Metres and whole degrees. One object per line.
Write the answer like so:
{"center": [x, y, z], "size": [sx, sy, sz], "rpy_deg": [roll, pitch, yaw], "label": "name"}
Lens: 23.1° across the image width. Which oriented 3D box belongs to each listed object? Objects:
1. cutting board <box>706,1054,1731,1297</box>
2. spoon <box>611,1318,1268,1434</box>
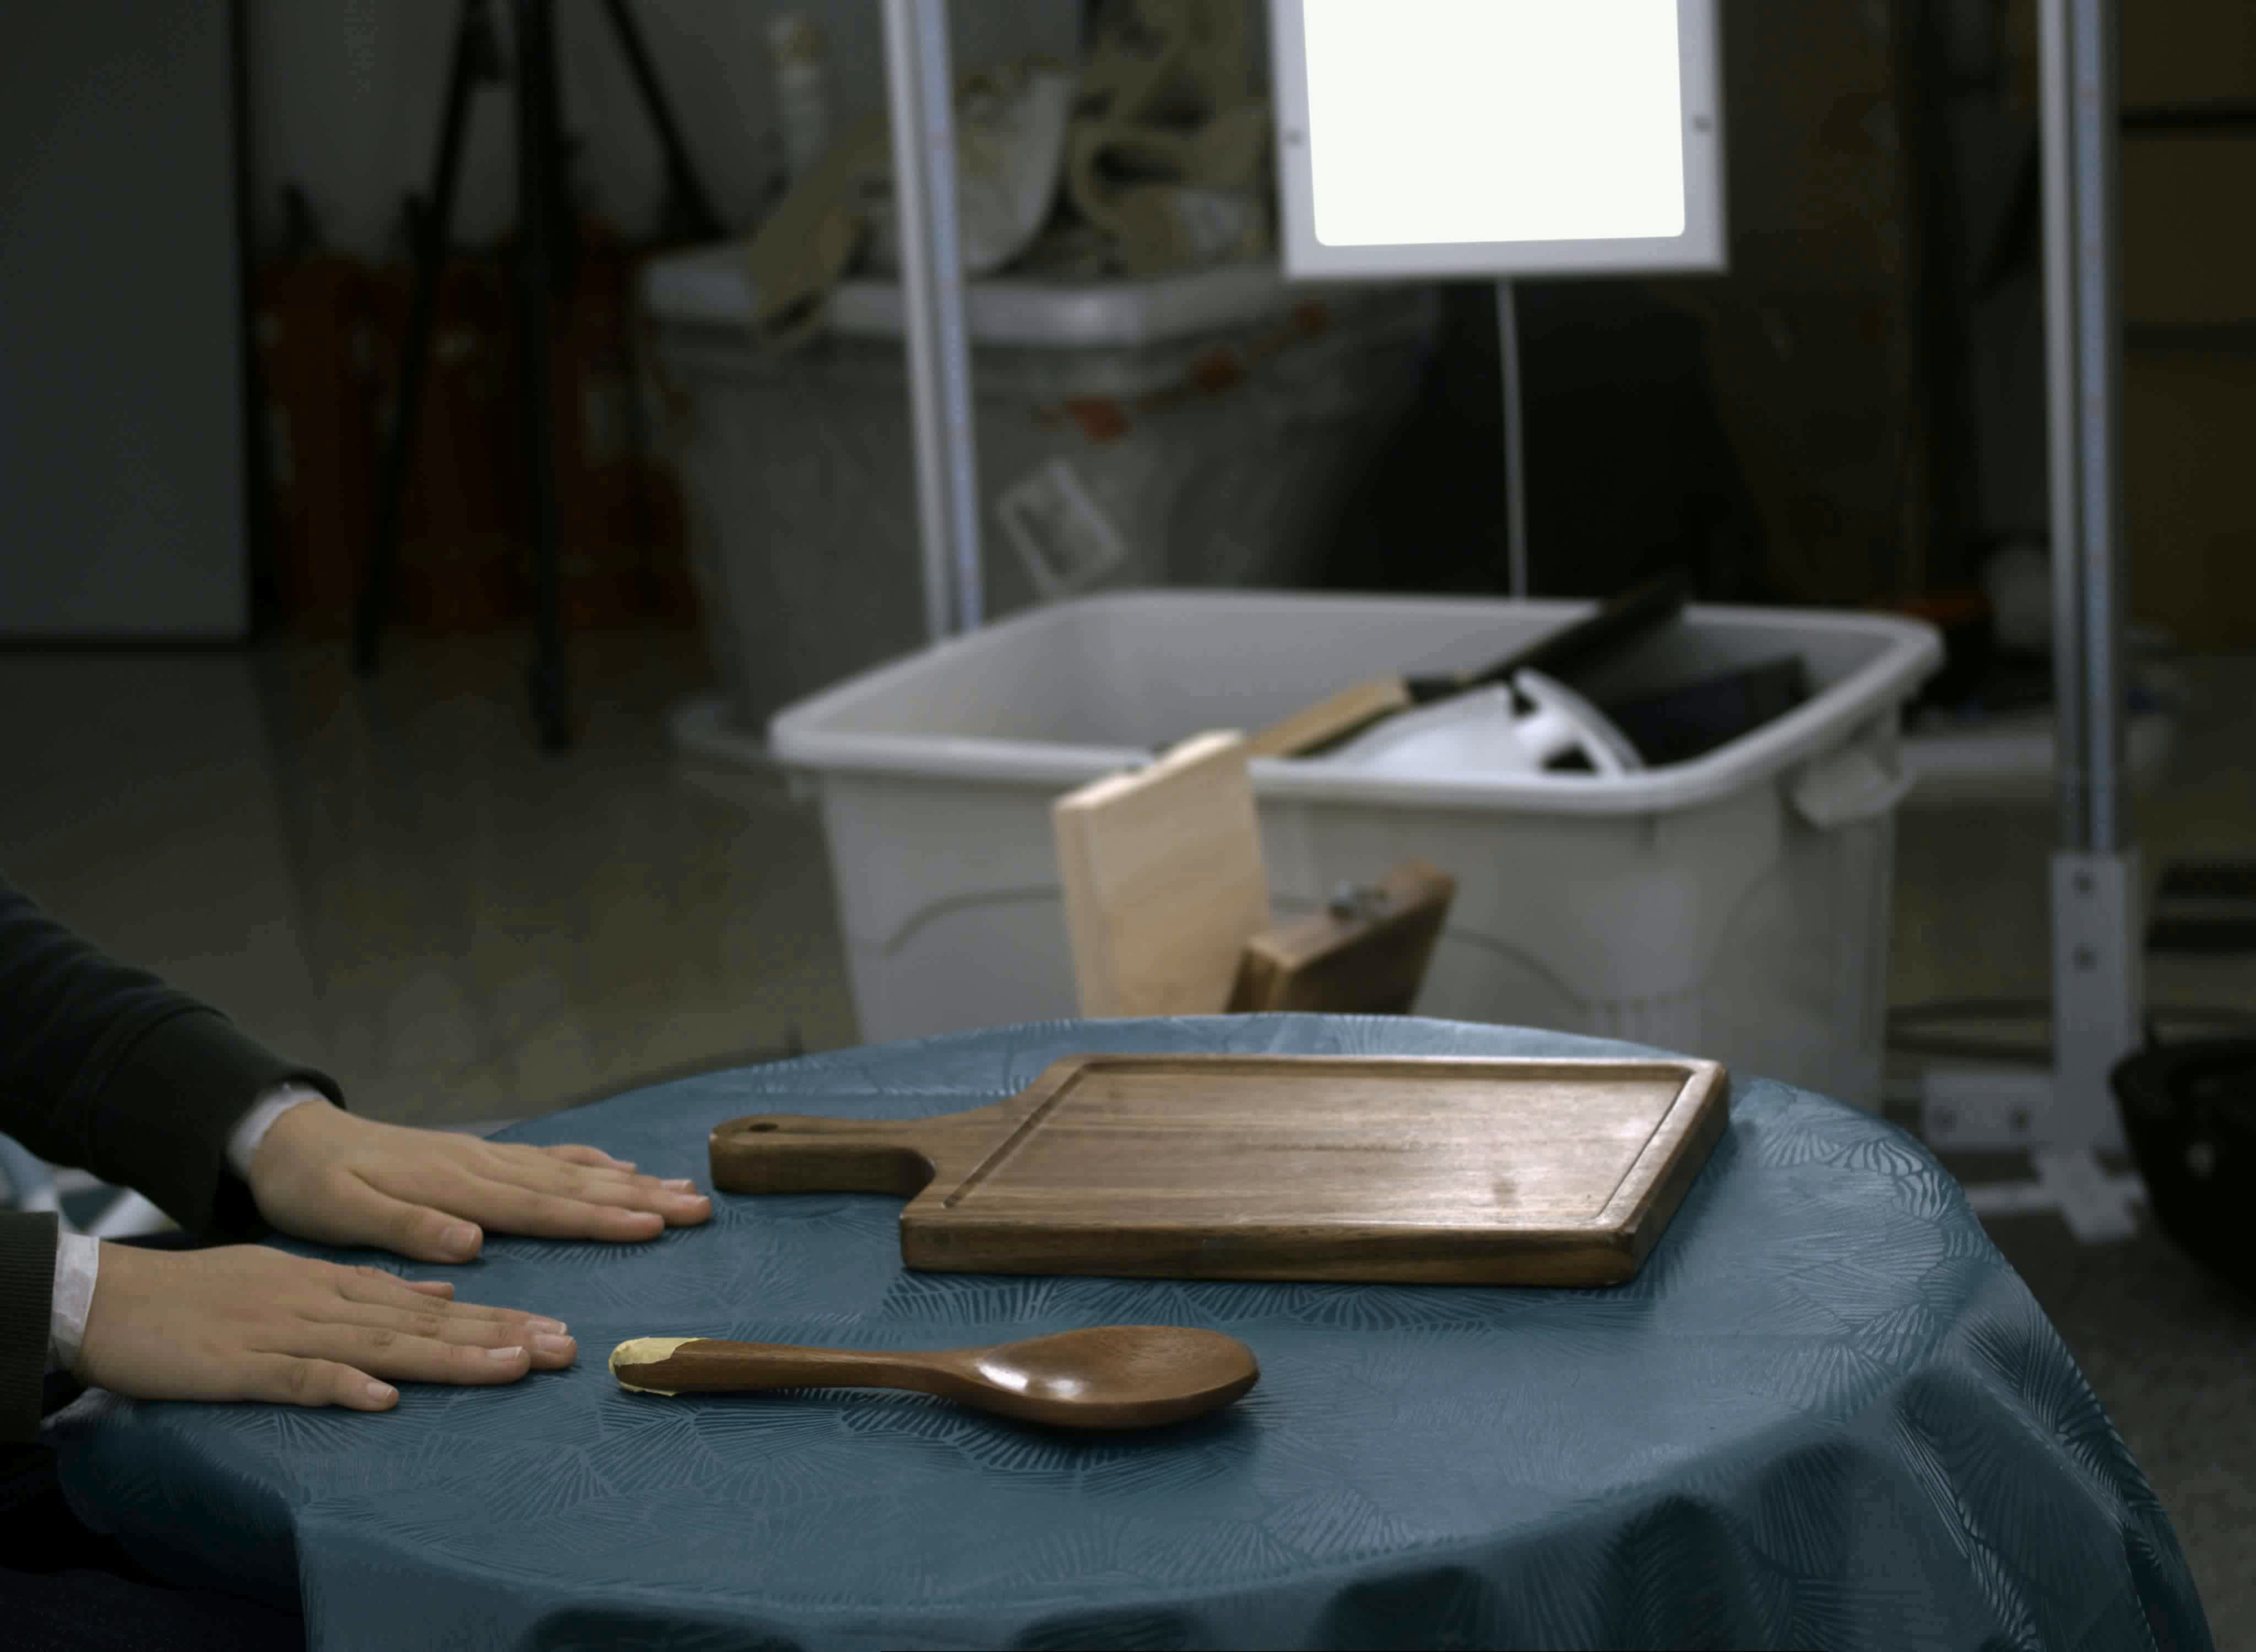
{"center": [0.021, 0.117, 1.895], "size": [0.356, 0.023, 0.198], "rpy_deg": [-1, 15, 19], "label": "cutting board"}
{"center": [-0.060, 0.169, 1.708], "size": [0.219, 0.017, 0.074], "rpy_deg": [1, 17, 22], "label": "spoon"}
